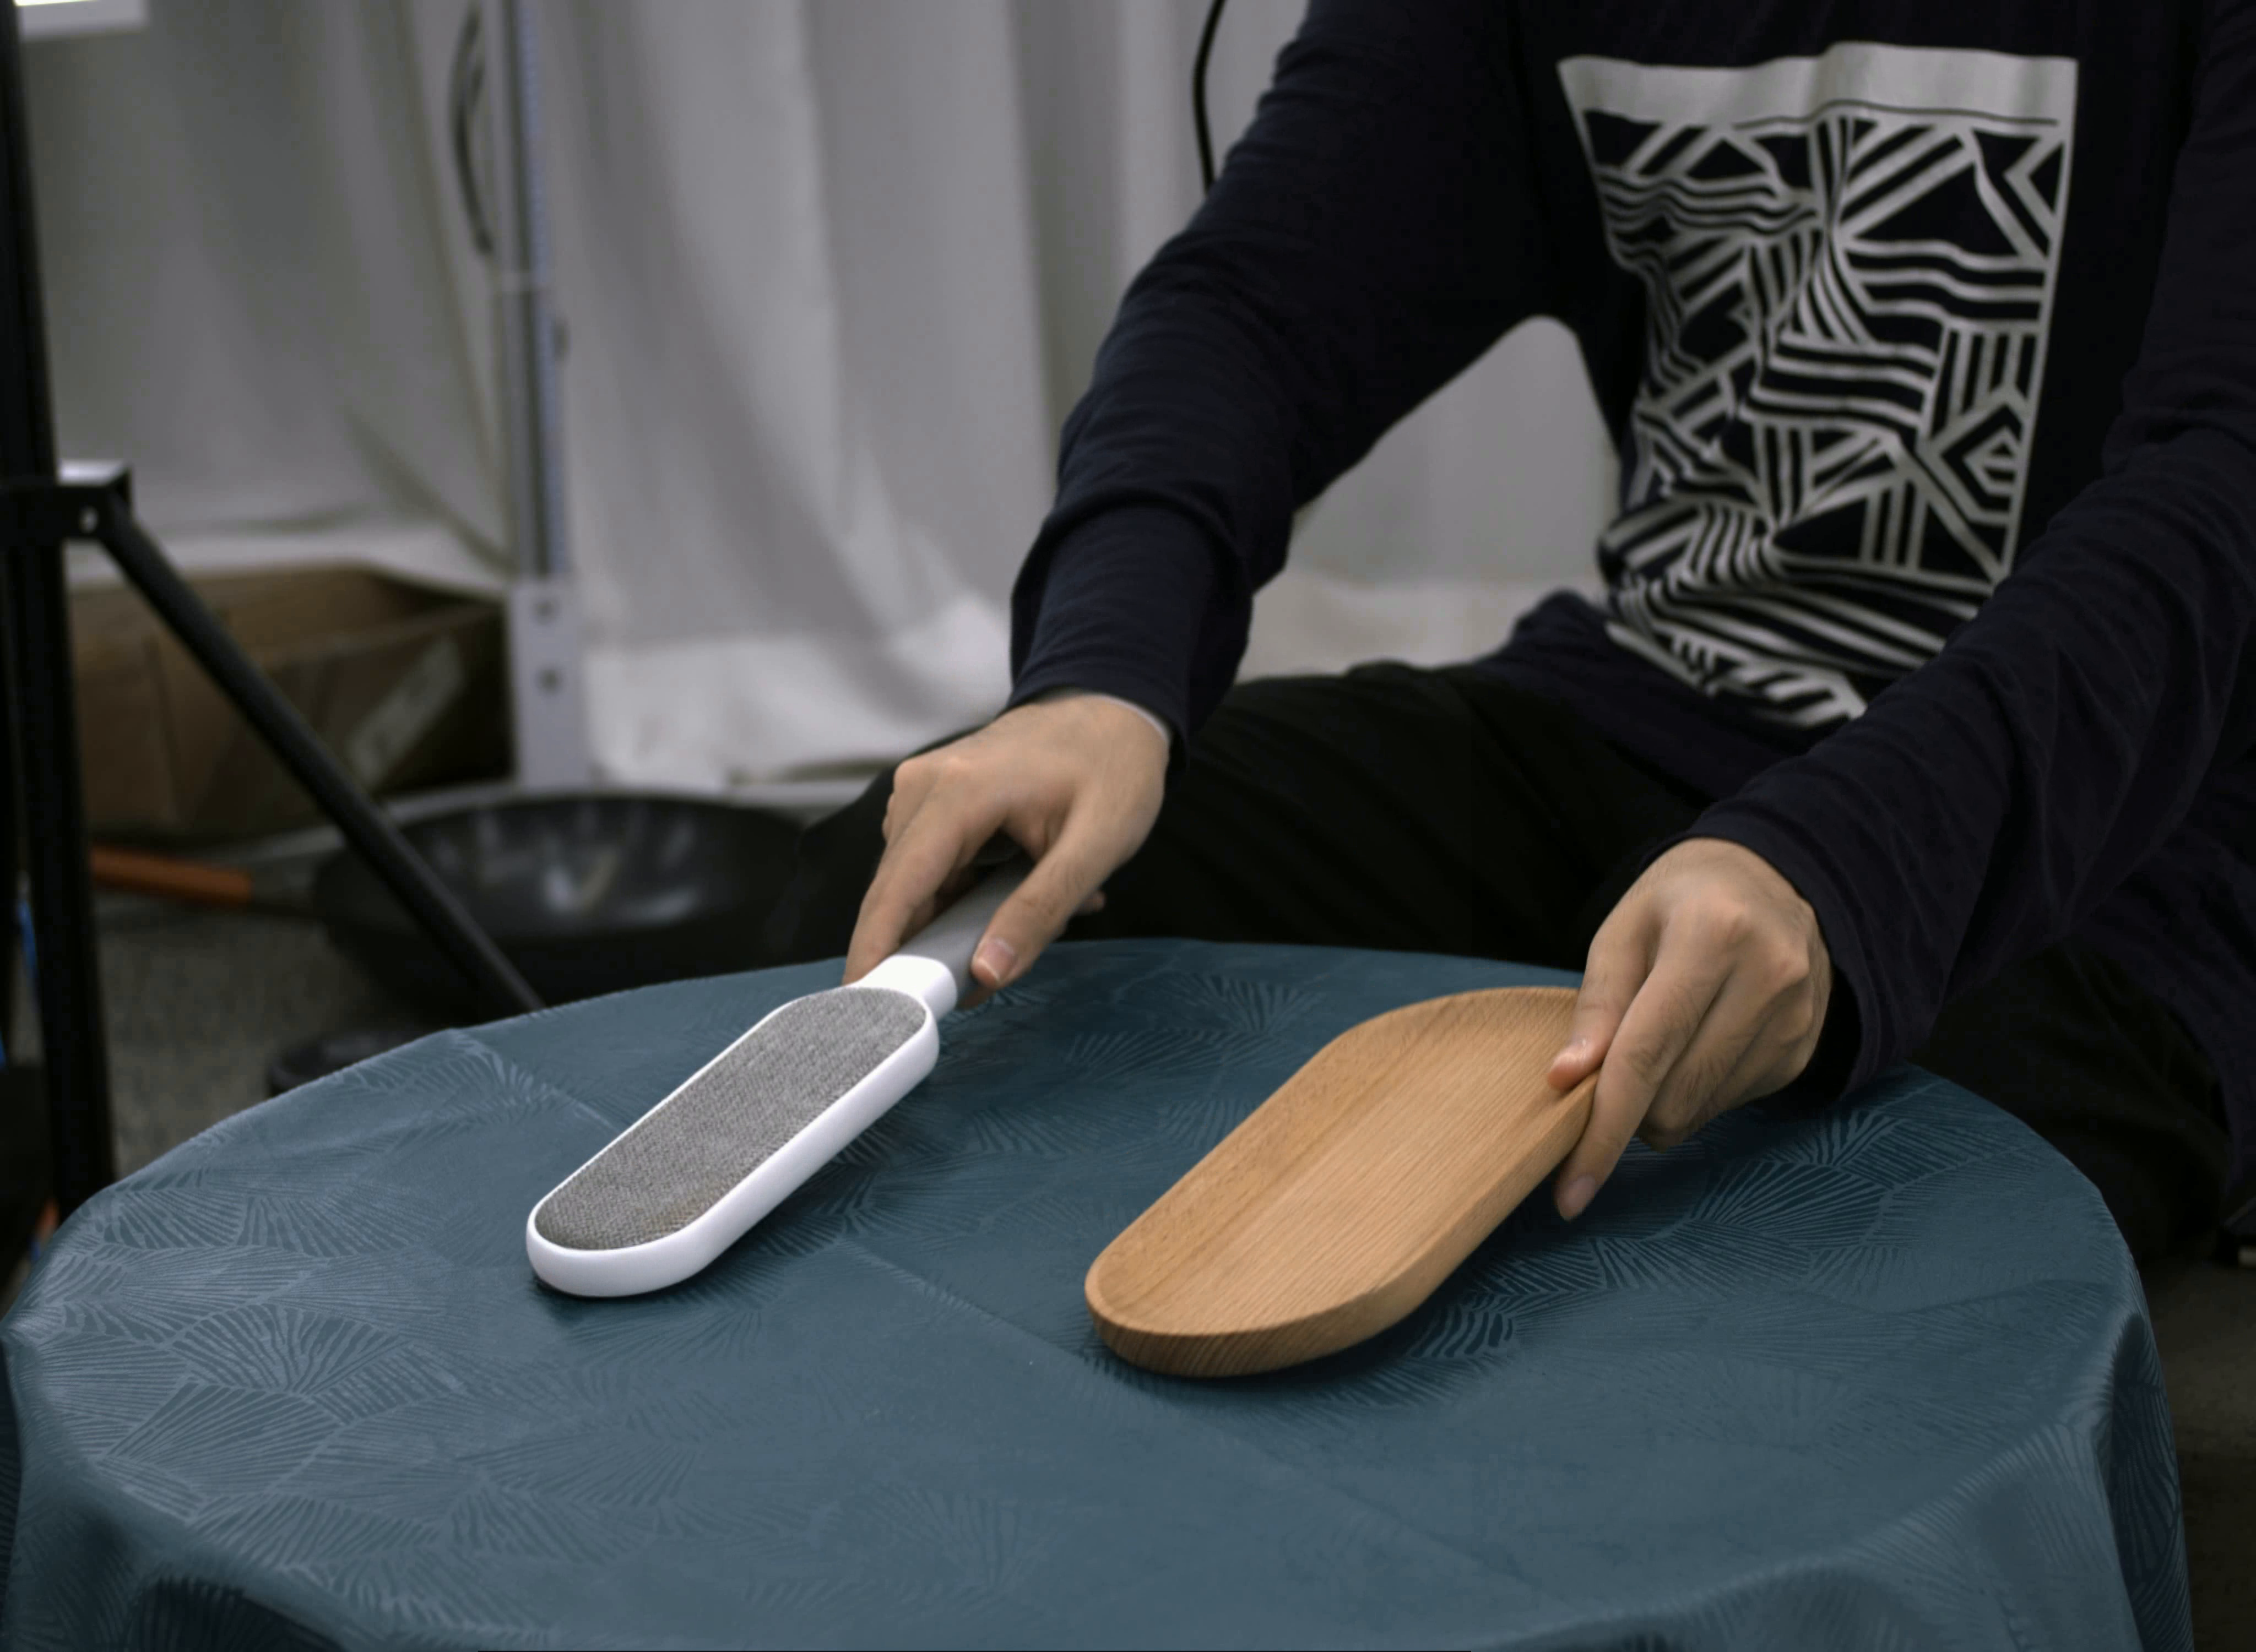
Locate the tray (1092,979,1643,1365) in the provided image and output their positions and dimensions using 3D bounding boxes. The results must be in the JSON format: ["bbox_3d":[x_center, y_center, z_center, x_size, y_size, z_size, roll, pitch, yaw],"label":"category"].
[{"bbox_3d":[0.071,0.095,1.501,0.103,0.020,0.228,1,21,30],"label":"tray"}]

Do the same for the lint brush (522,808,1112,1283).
[{"bbox_3d":[-0.084,0.062,1.610,0.061,0.021,0.305,-1,23,32],"label":"lint brush"}]
